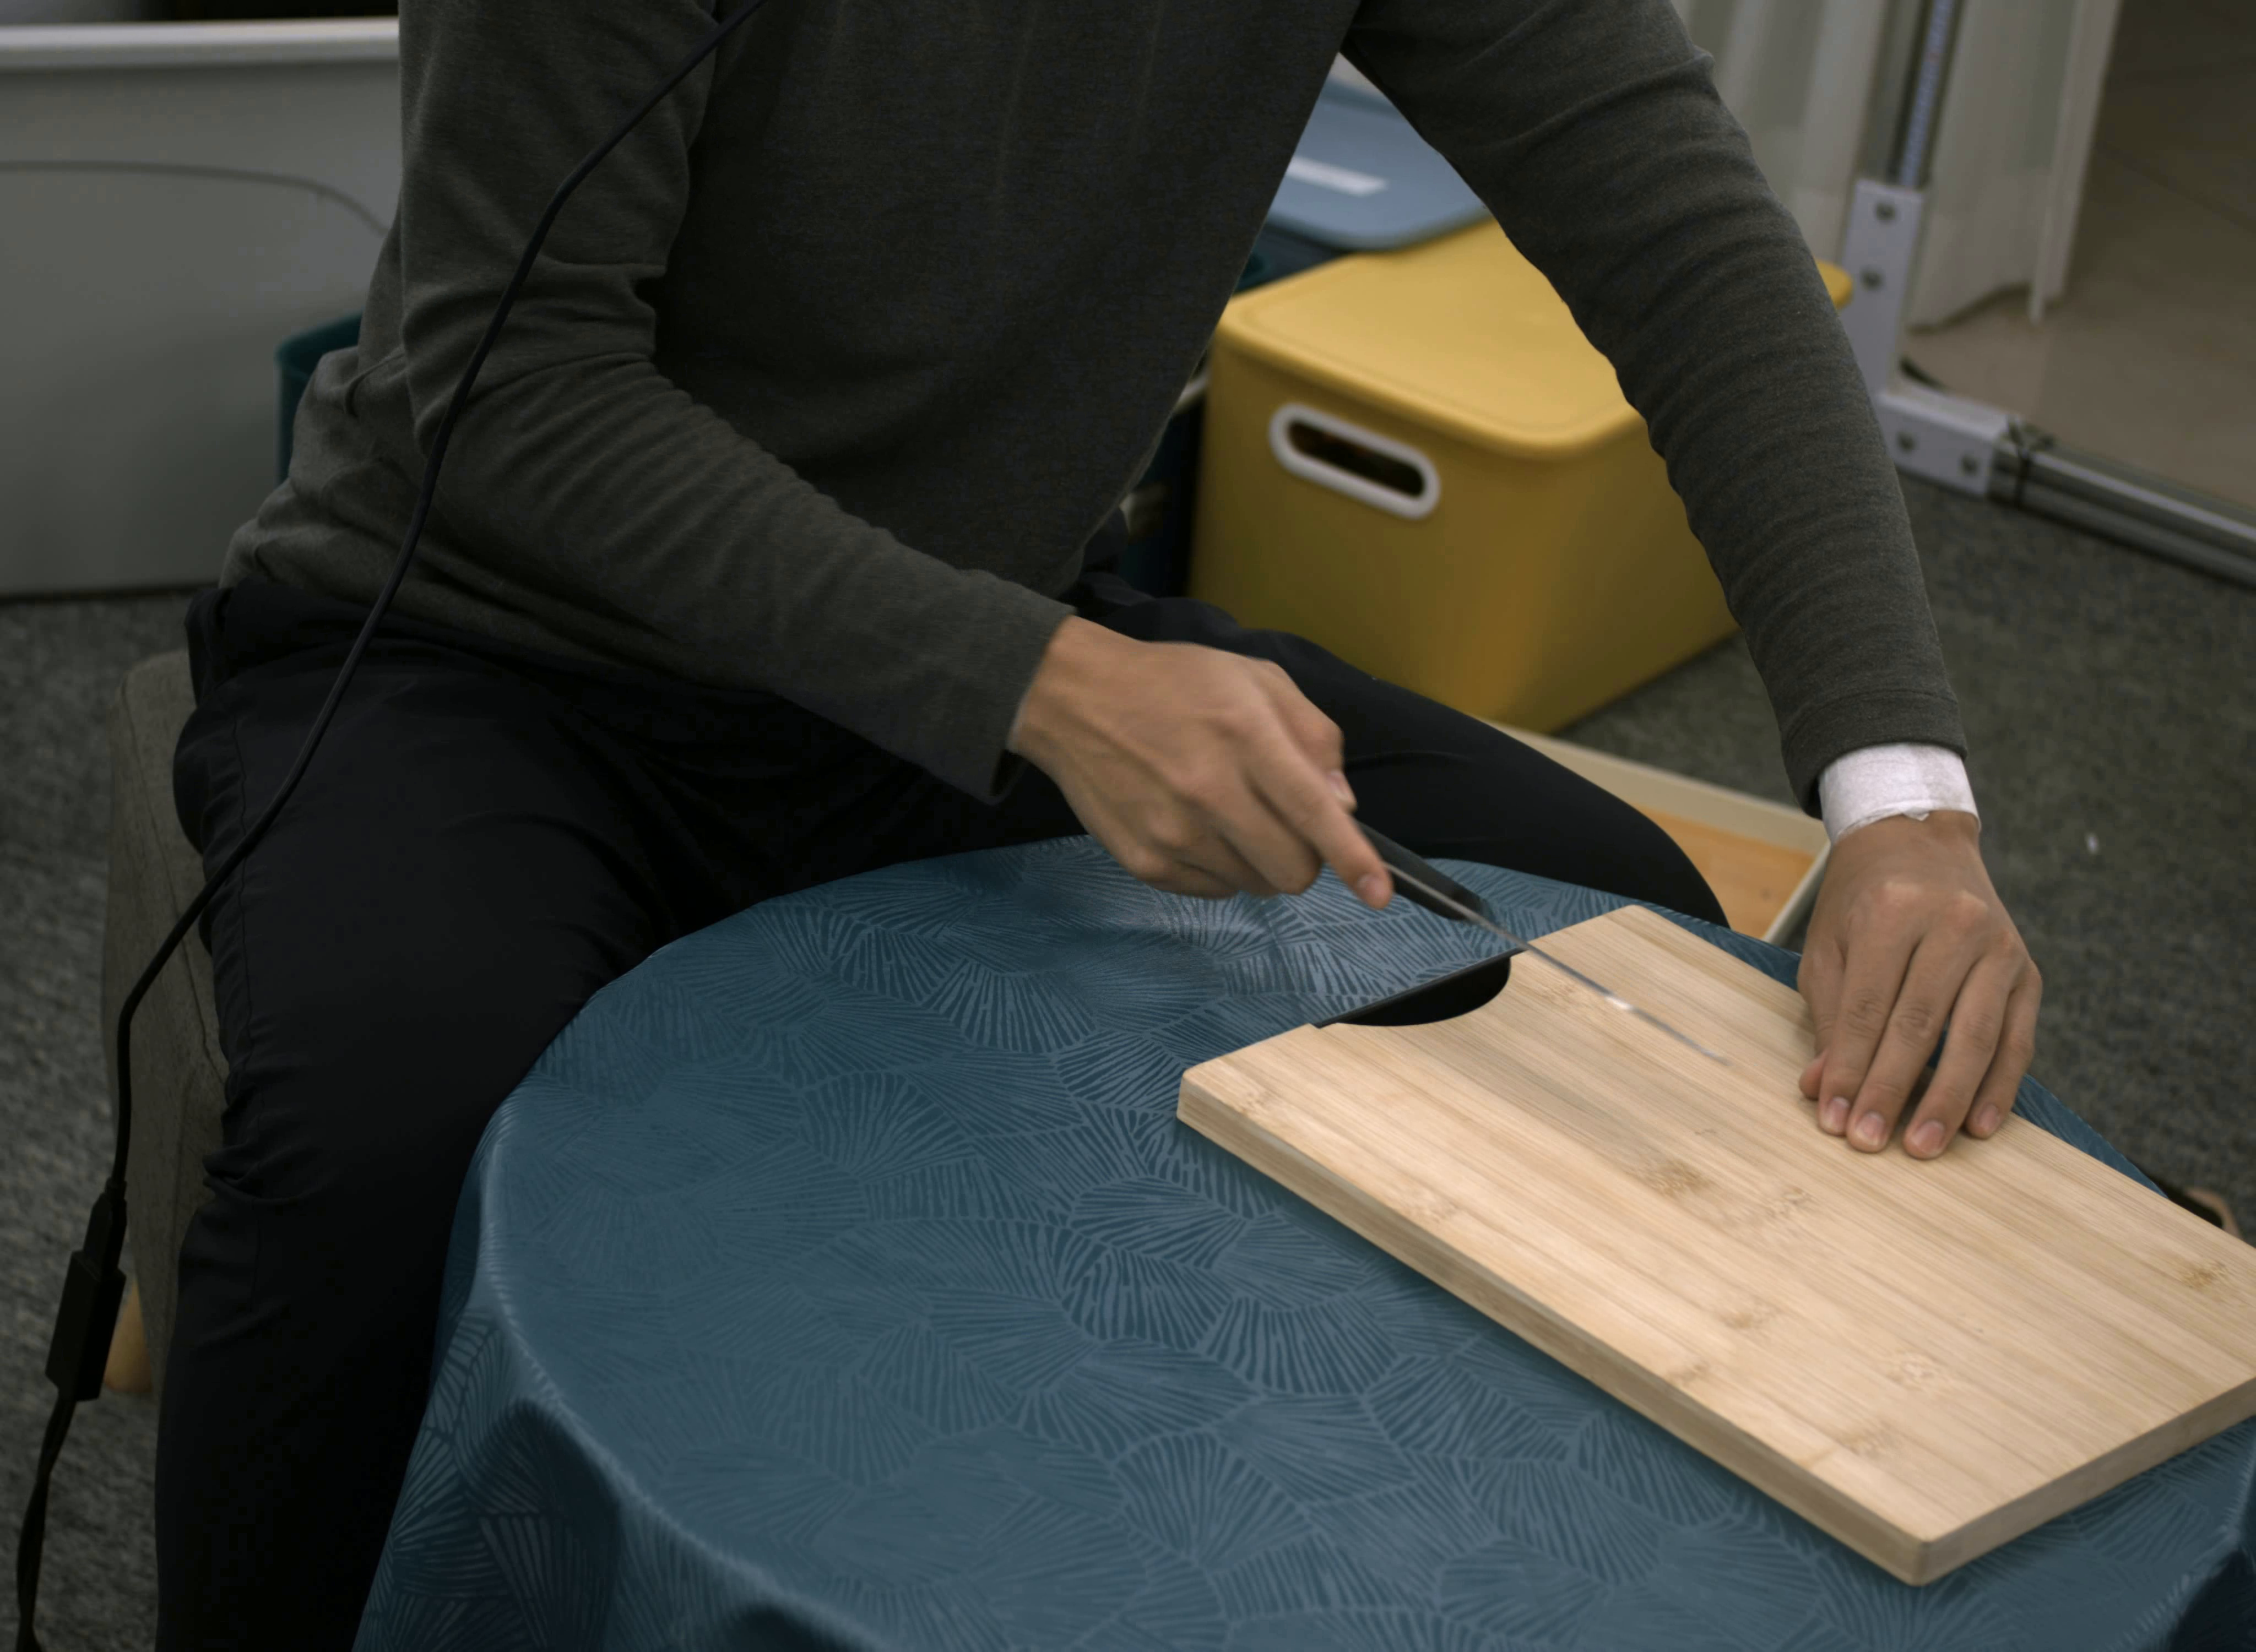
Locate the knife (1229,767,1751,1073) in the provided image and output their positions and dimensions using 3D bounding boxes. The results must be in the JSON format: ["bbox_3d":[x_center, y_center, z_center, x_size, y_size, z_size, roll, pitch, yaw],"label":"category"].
[{"bbox_3d":[0.125,0.033,1.884,0.240,0.016,0.024,30,0,33],"label":"knife"}]

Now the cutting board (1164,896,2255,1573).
[{"bbox_3d":[0.214,0.131,1.823,0.249,0.023,0.351,-18,36,-40],"label":"cutting board"}]
